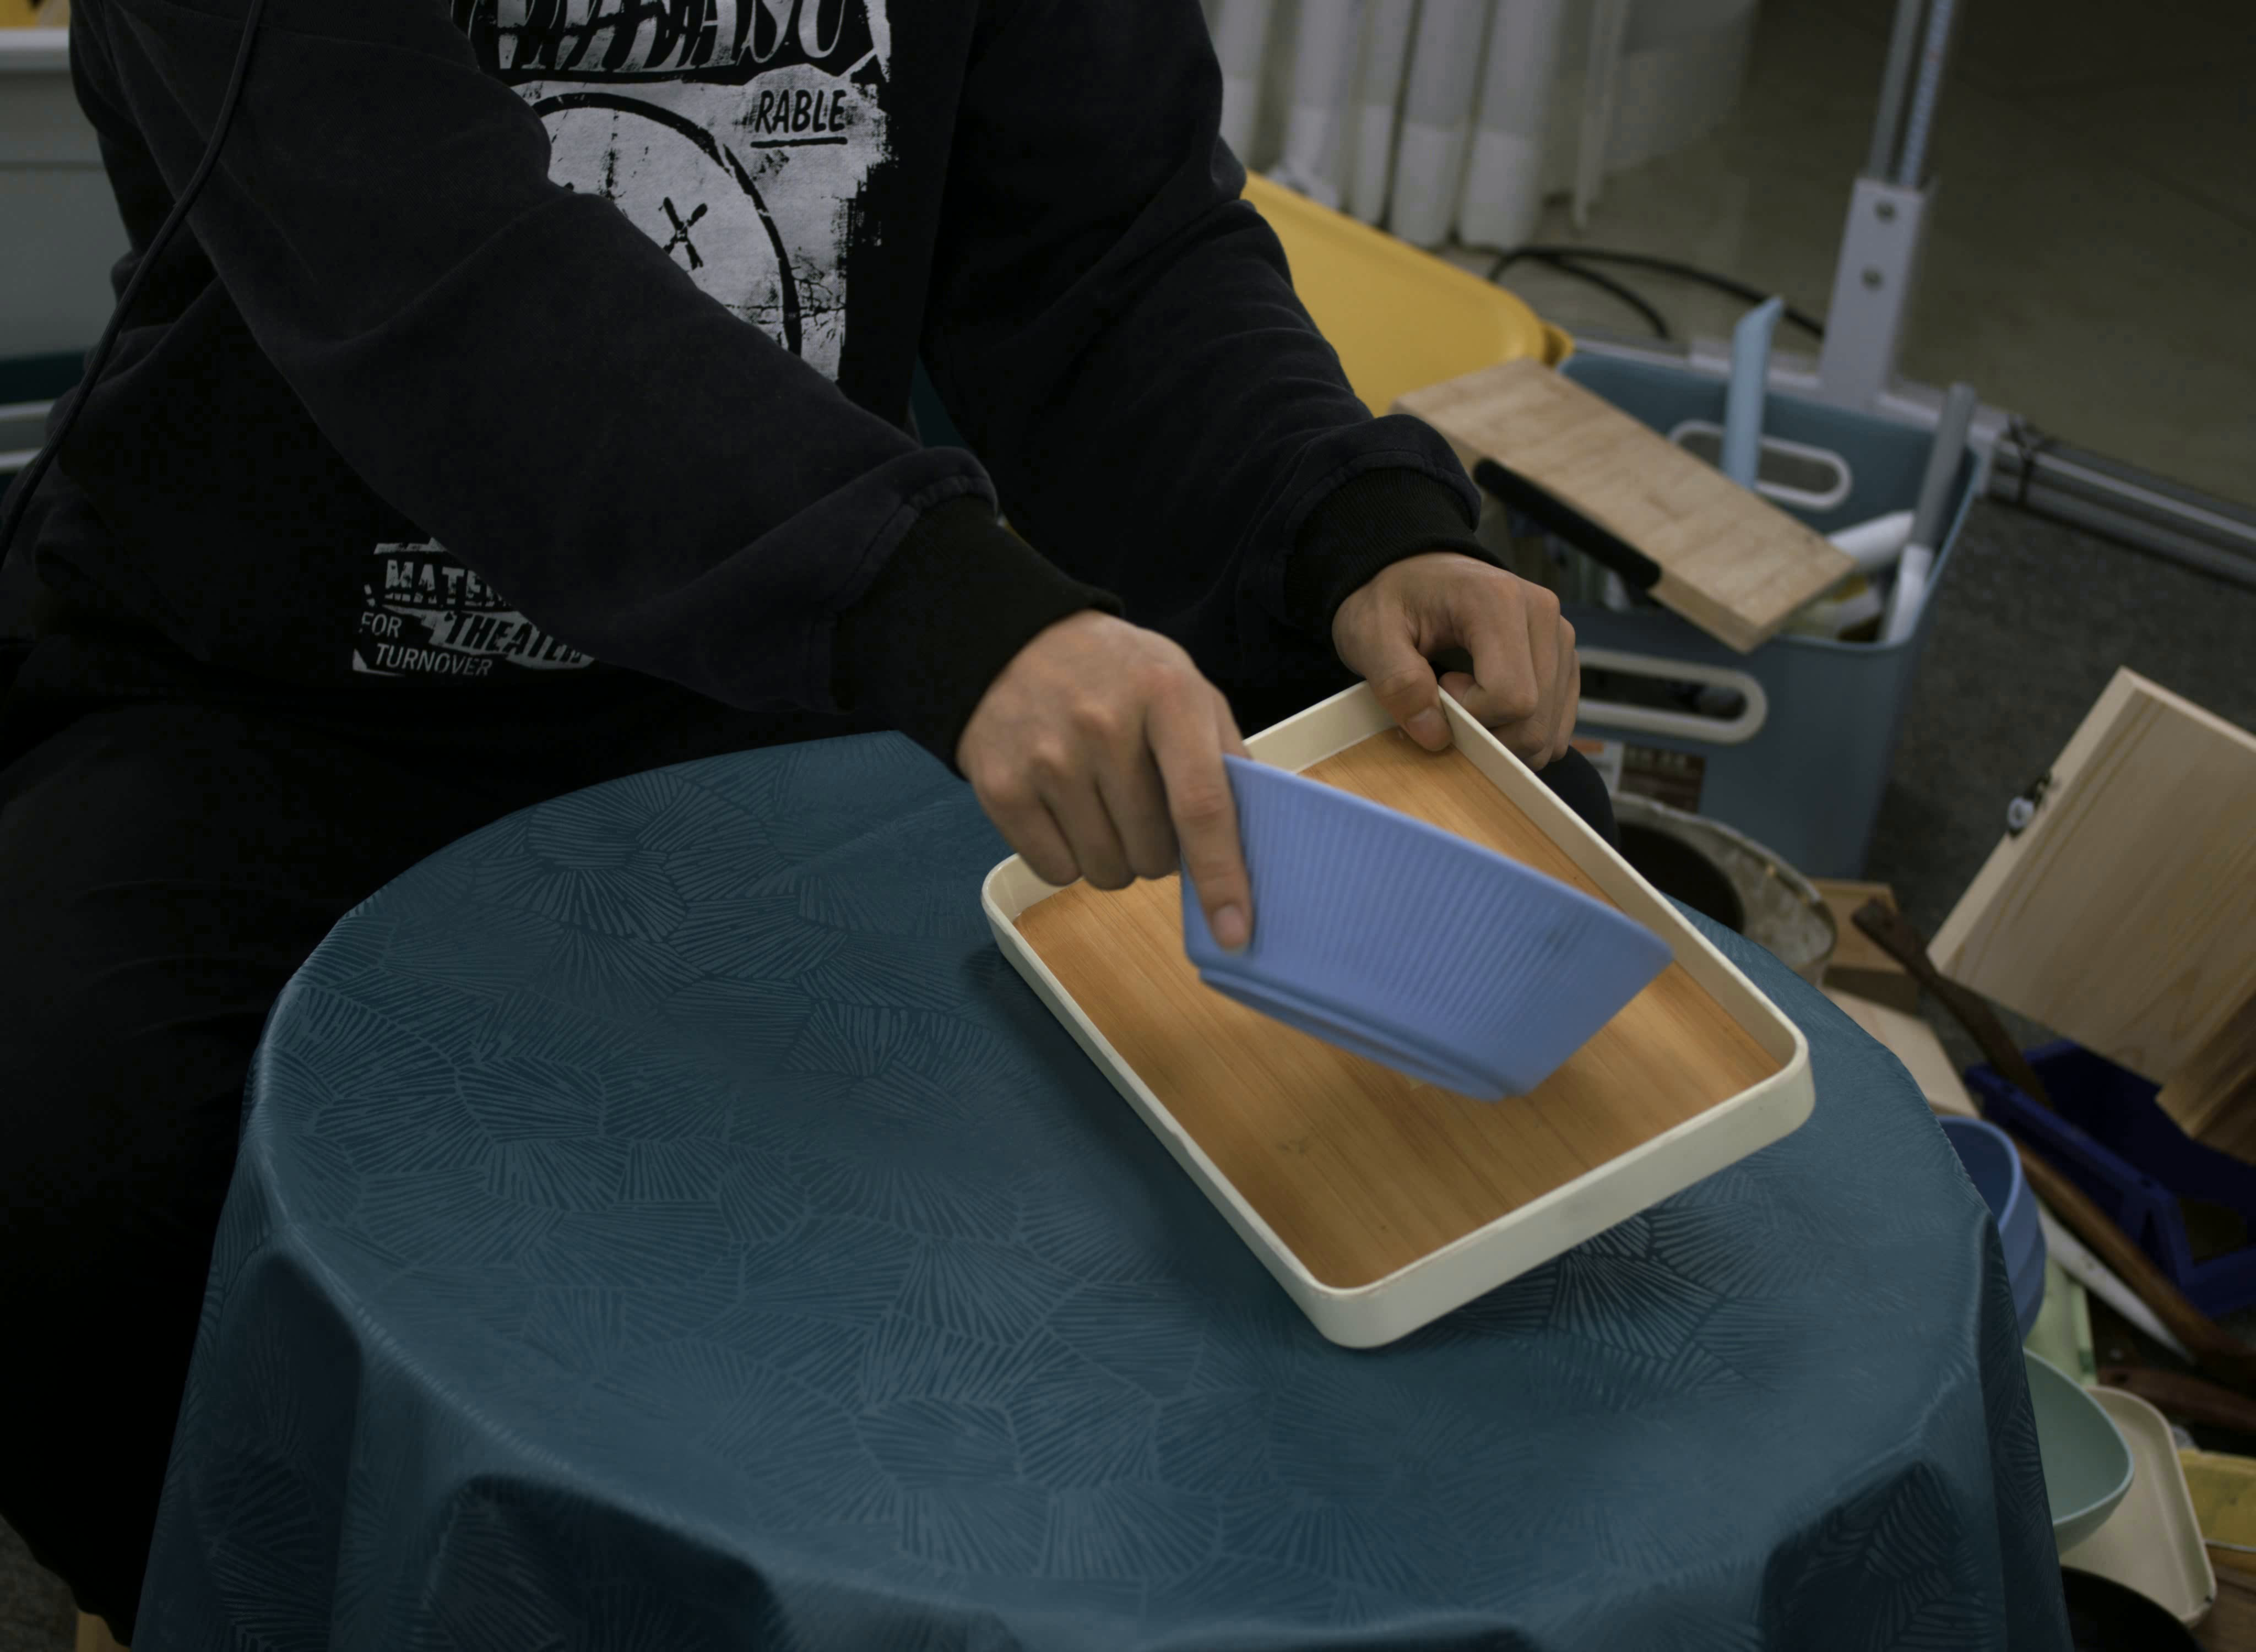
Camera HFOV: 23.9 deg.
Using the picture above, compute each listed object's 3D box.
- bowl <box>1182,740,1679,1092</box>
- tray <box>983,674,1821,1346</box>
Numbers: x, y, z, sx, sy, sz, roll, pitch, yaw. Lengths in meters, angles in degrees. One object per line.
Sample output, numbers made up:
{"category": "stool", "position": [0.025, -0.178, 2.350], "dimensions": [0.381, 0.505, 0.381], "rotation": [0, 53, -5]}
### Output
{"category": "bowl", "position": [0.087, 0.035, 1.740], "dimensions": [0.176, 0.070, 0.176], "rotation": [23, -5, 2]}
{"category": "tray", "position": [0.089, 0.057, 1.848], "dimensions": [0.191, 0.027, 0.303], "rotation": [-26, 36, -12]}
